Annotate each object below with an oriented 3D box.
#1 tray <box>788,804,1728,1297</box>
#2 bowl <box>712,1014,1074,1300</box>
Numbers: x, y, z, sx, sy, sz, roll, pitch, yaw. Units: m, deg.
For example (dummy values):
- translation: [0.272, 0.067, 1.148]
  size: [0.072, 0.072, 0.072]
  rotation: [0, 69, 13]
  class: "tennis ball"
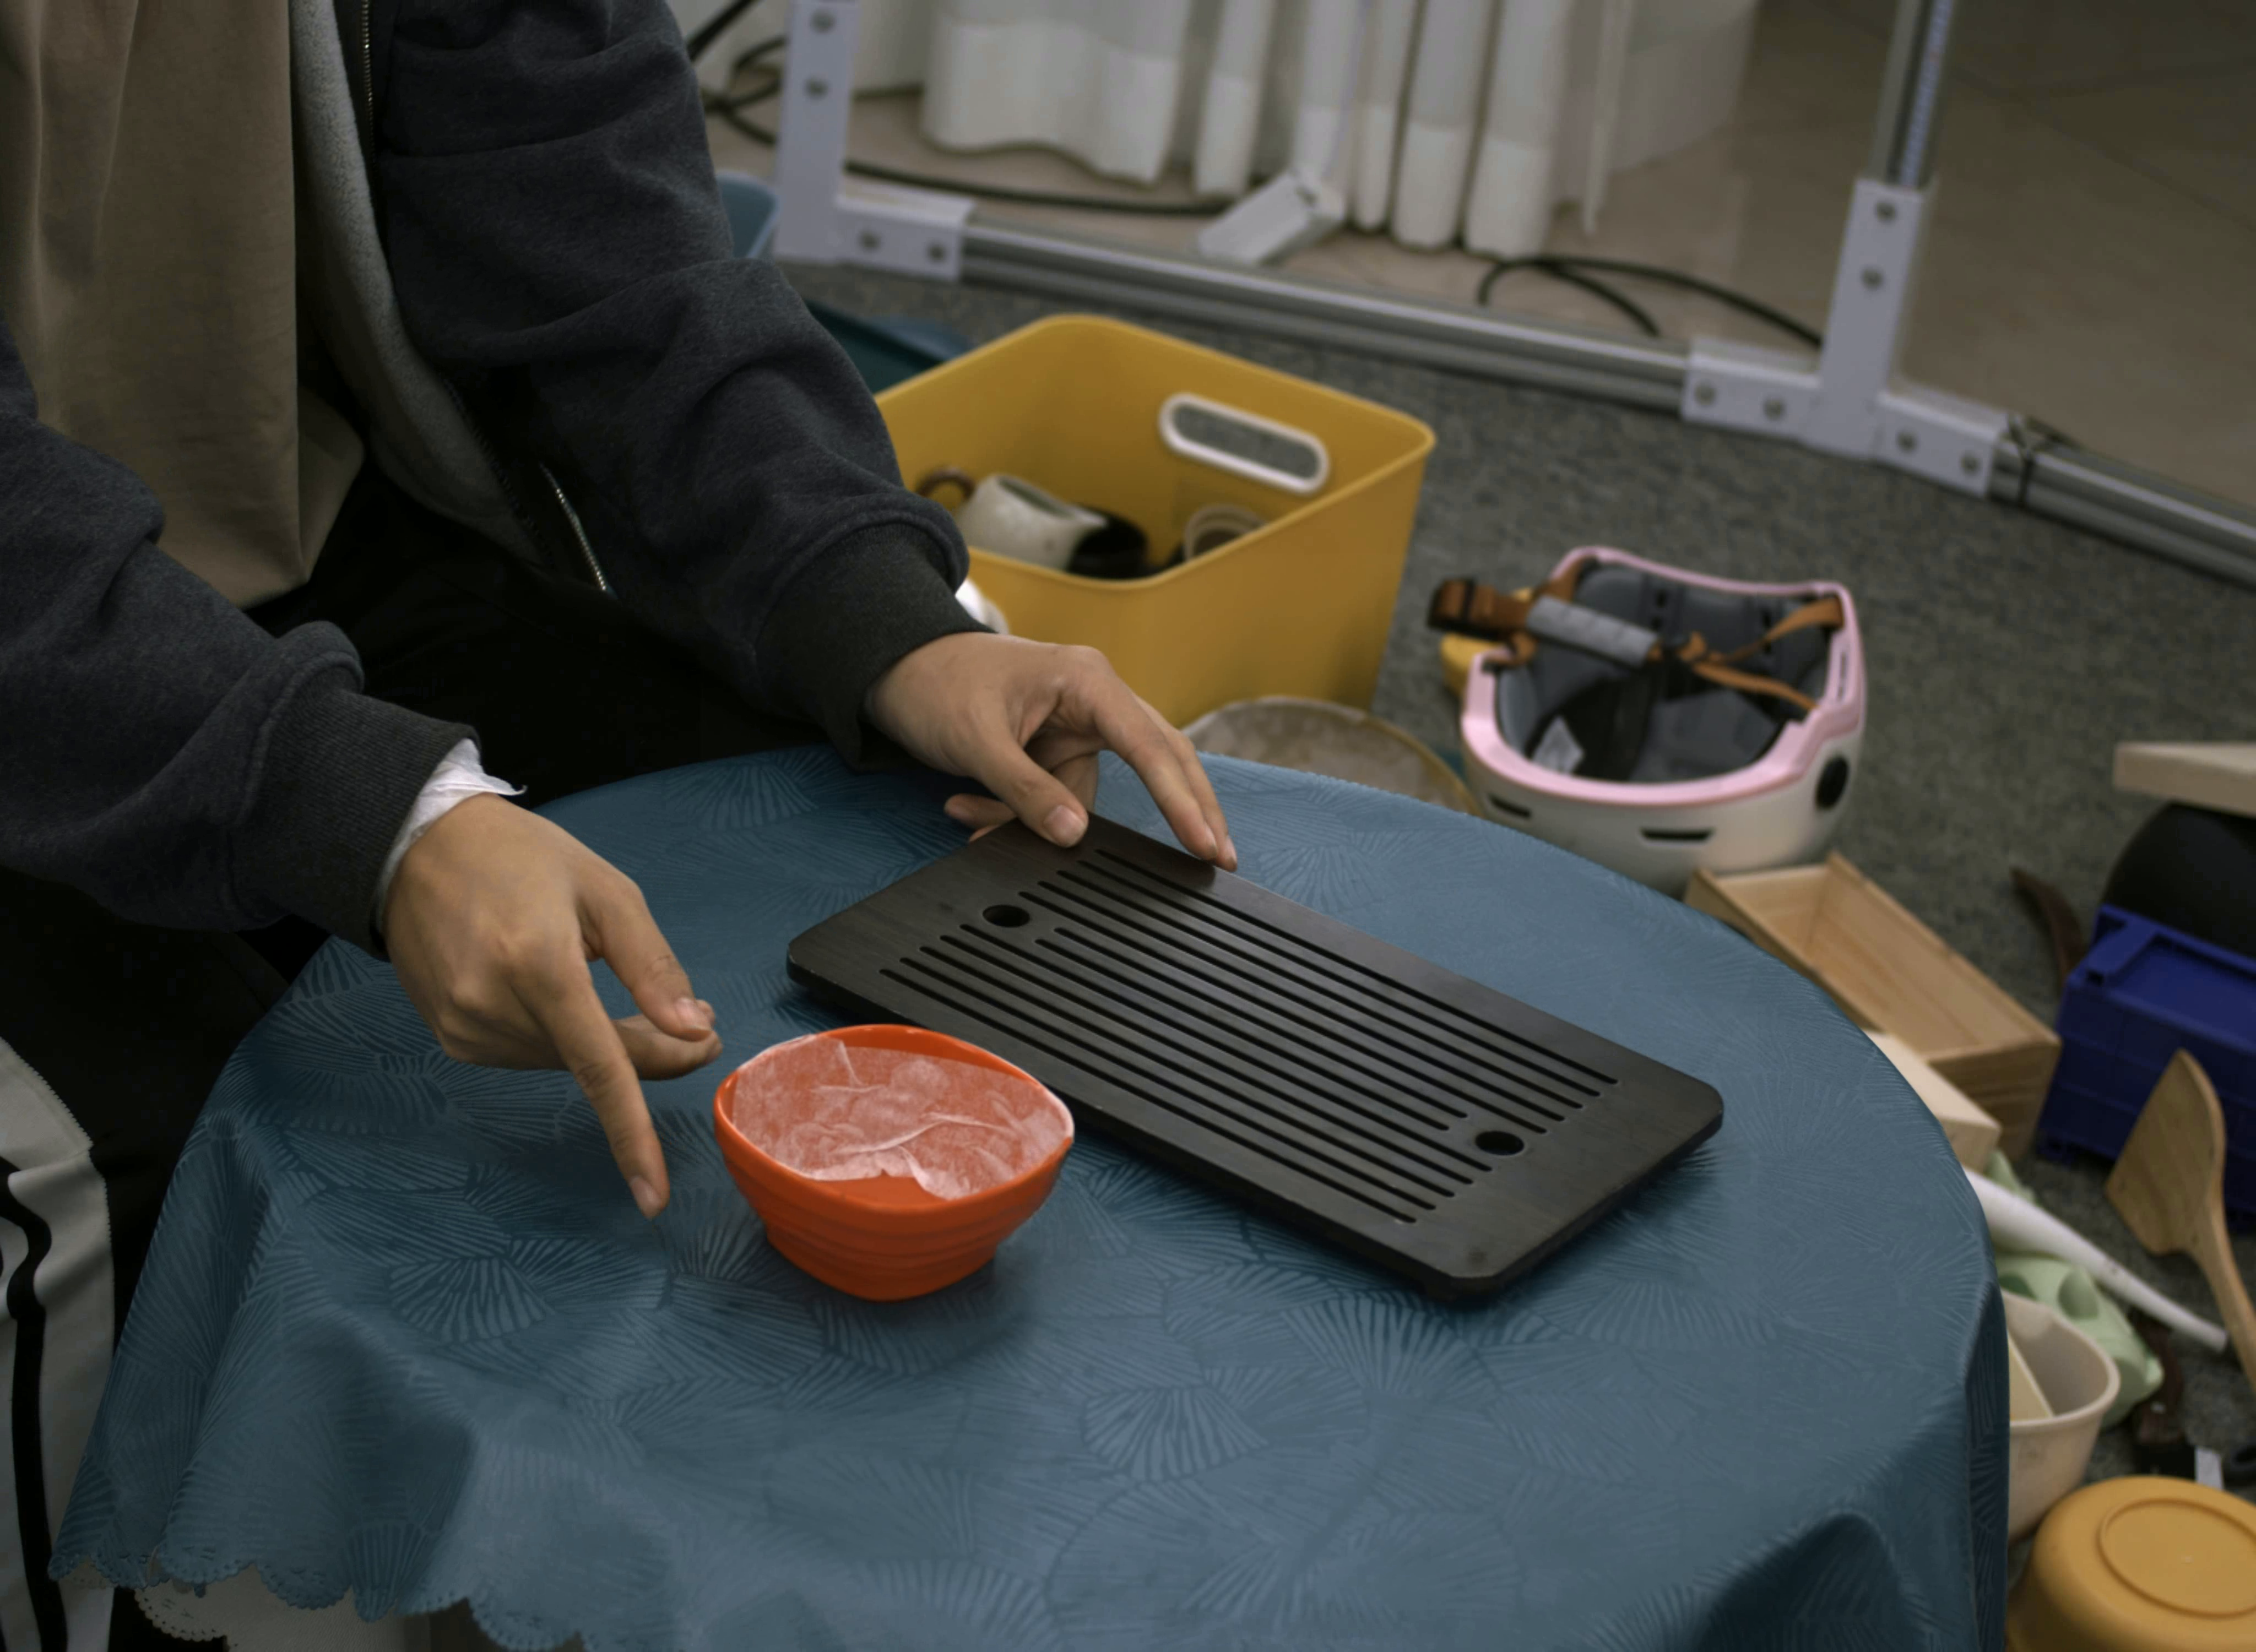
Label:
- translation: [0.044, 0.076, 1.880]
  size: [0.308, 0.018, 0.169]
  rotation: [23, 33, 30]
  class: "tray"
- translation: [-0.079, 0.113, 1.743]
  size: [0.118, 0.051, 0.119]
  rotation: [6, 29, -3]
  class: "bowl"
